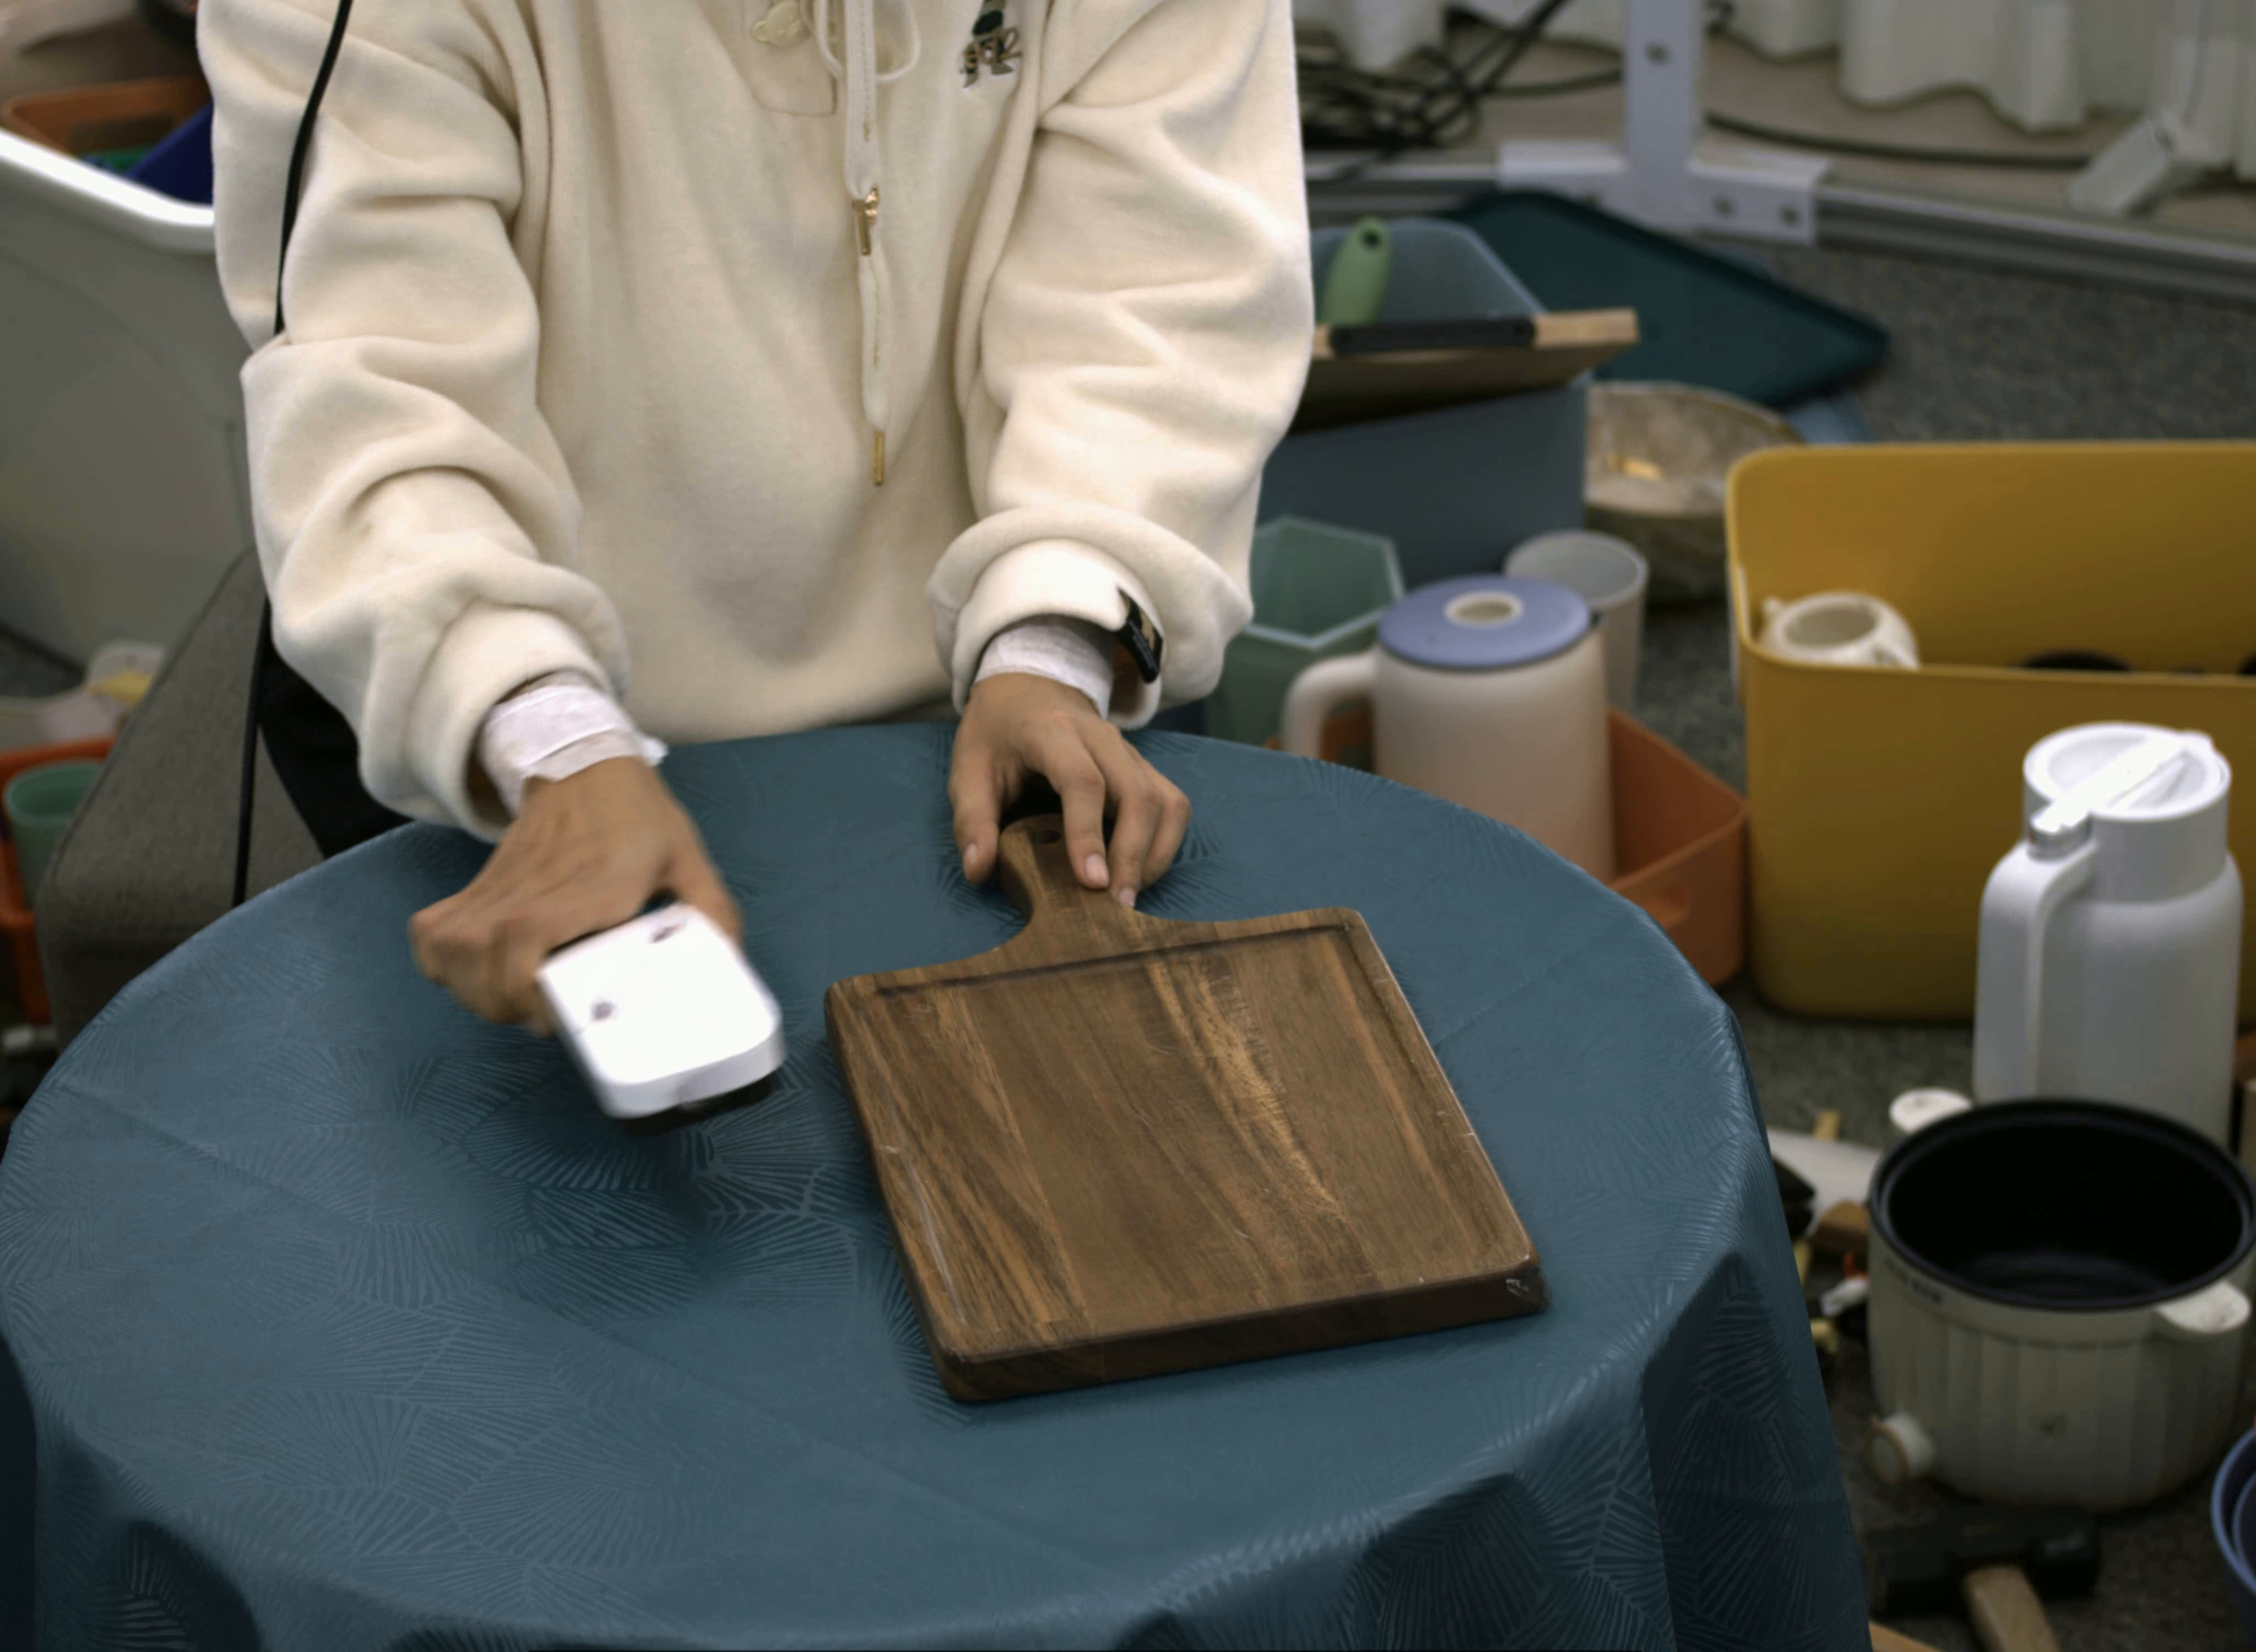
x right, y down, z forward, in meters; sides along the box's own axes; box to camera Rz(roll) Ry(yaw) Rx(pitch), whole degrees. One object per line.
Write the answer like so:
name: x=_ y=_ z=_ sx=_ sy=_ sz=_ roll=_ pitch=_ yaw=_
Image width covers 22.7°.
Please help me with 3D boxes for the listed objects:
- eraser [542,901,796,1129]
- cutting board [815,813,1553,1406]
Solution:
eraser: x=-0.152 y=0.059 z=1.877 sx=0.063 sy=0.034 sz=0.132 roll=-16 pitch=24 yaw=-13
cutting board: x=0.003 y=0.082 z=1.914 sx=0.201 sy=0.023 sz=0.356 roll=-8 pitch=28 yaw=-10
